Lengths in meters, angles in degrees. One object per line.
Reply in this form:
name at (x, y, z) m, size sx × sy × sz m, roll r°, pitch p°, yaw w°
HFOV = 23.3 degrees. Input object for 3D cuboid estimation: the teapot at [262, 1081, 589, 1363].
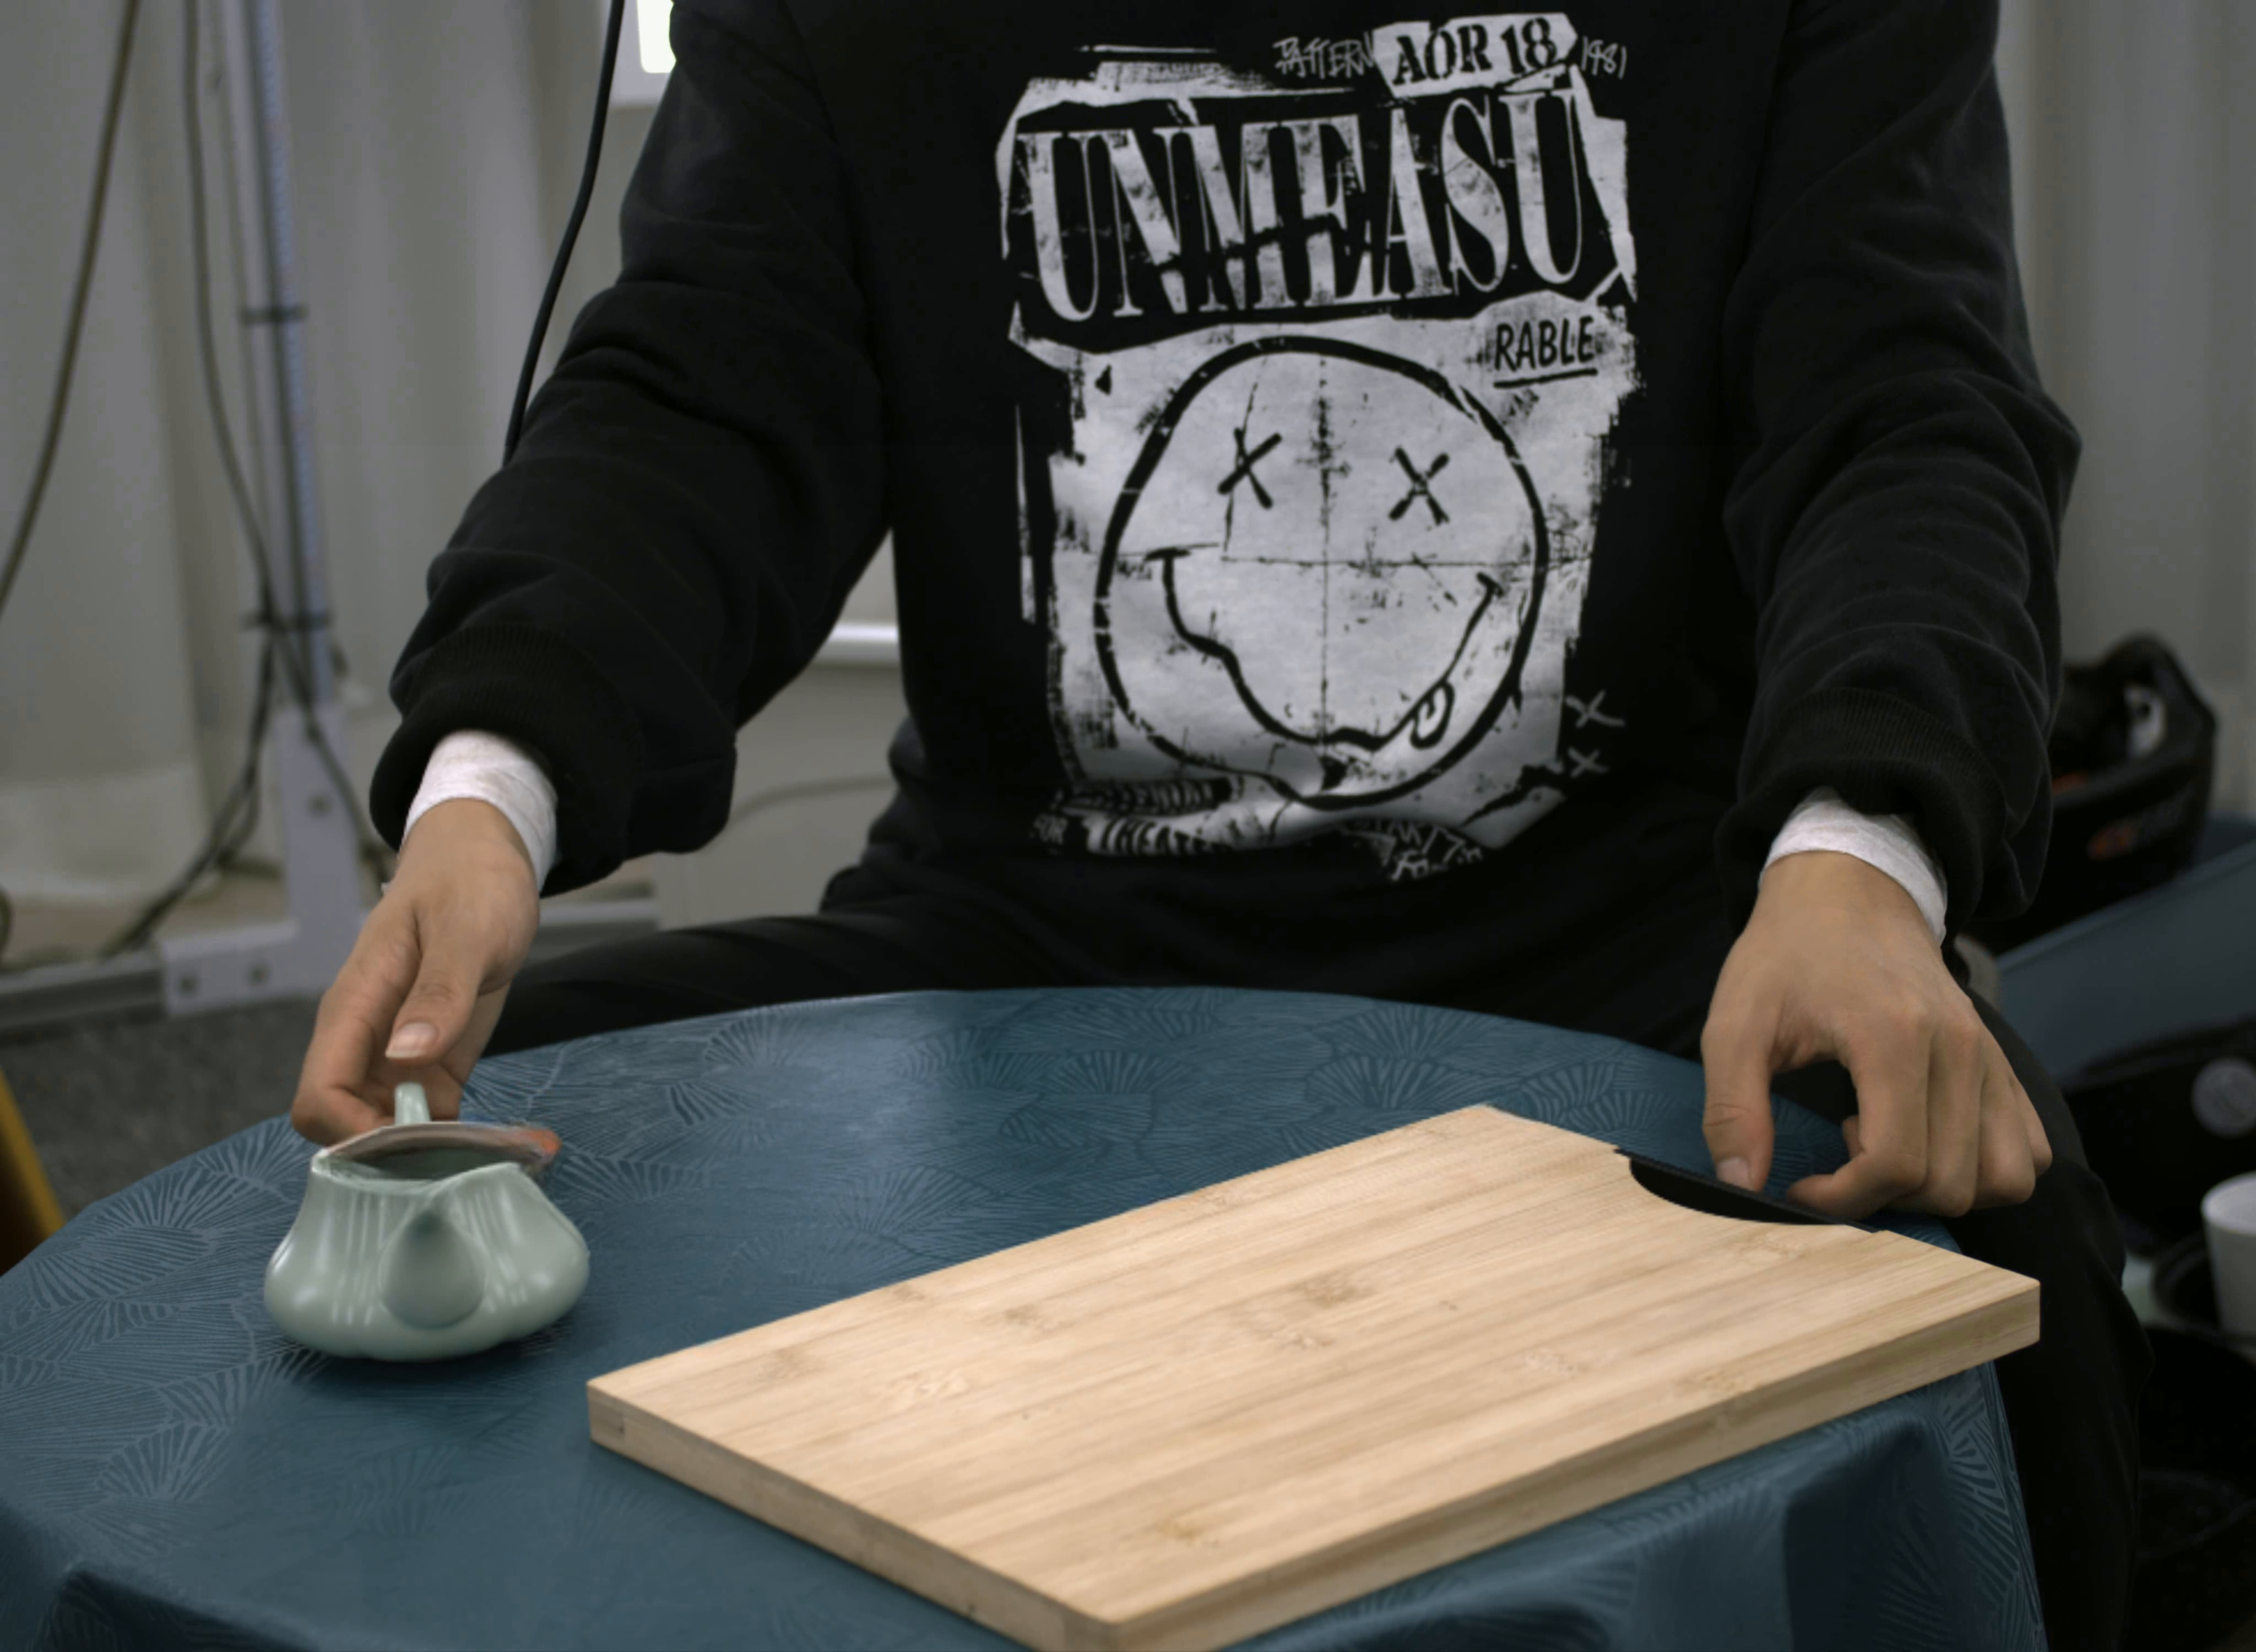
teapot at (-0.209, 0.120, 1.617) m, size 0.096 × 0.061 × 0.138 m, roll -7°, pitch 15°, yaw -11°

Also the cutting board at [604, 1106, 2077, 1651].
cutting board at (0.058, 0.151, 1.538) m, size 0.347 × 0.023 × 0.252 m, roll -15°, pitch 19°, yaw -37°
